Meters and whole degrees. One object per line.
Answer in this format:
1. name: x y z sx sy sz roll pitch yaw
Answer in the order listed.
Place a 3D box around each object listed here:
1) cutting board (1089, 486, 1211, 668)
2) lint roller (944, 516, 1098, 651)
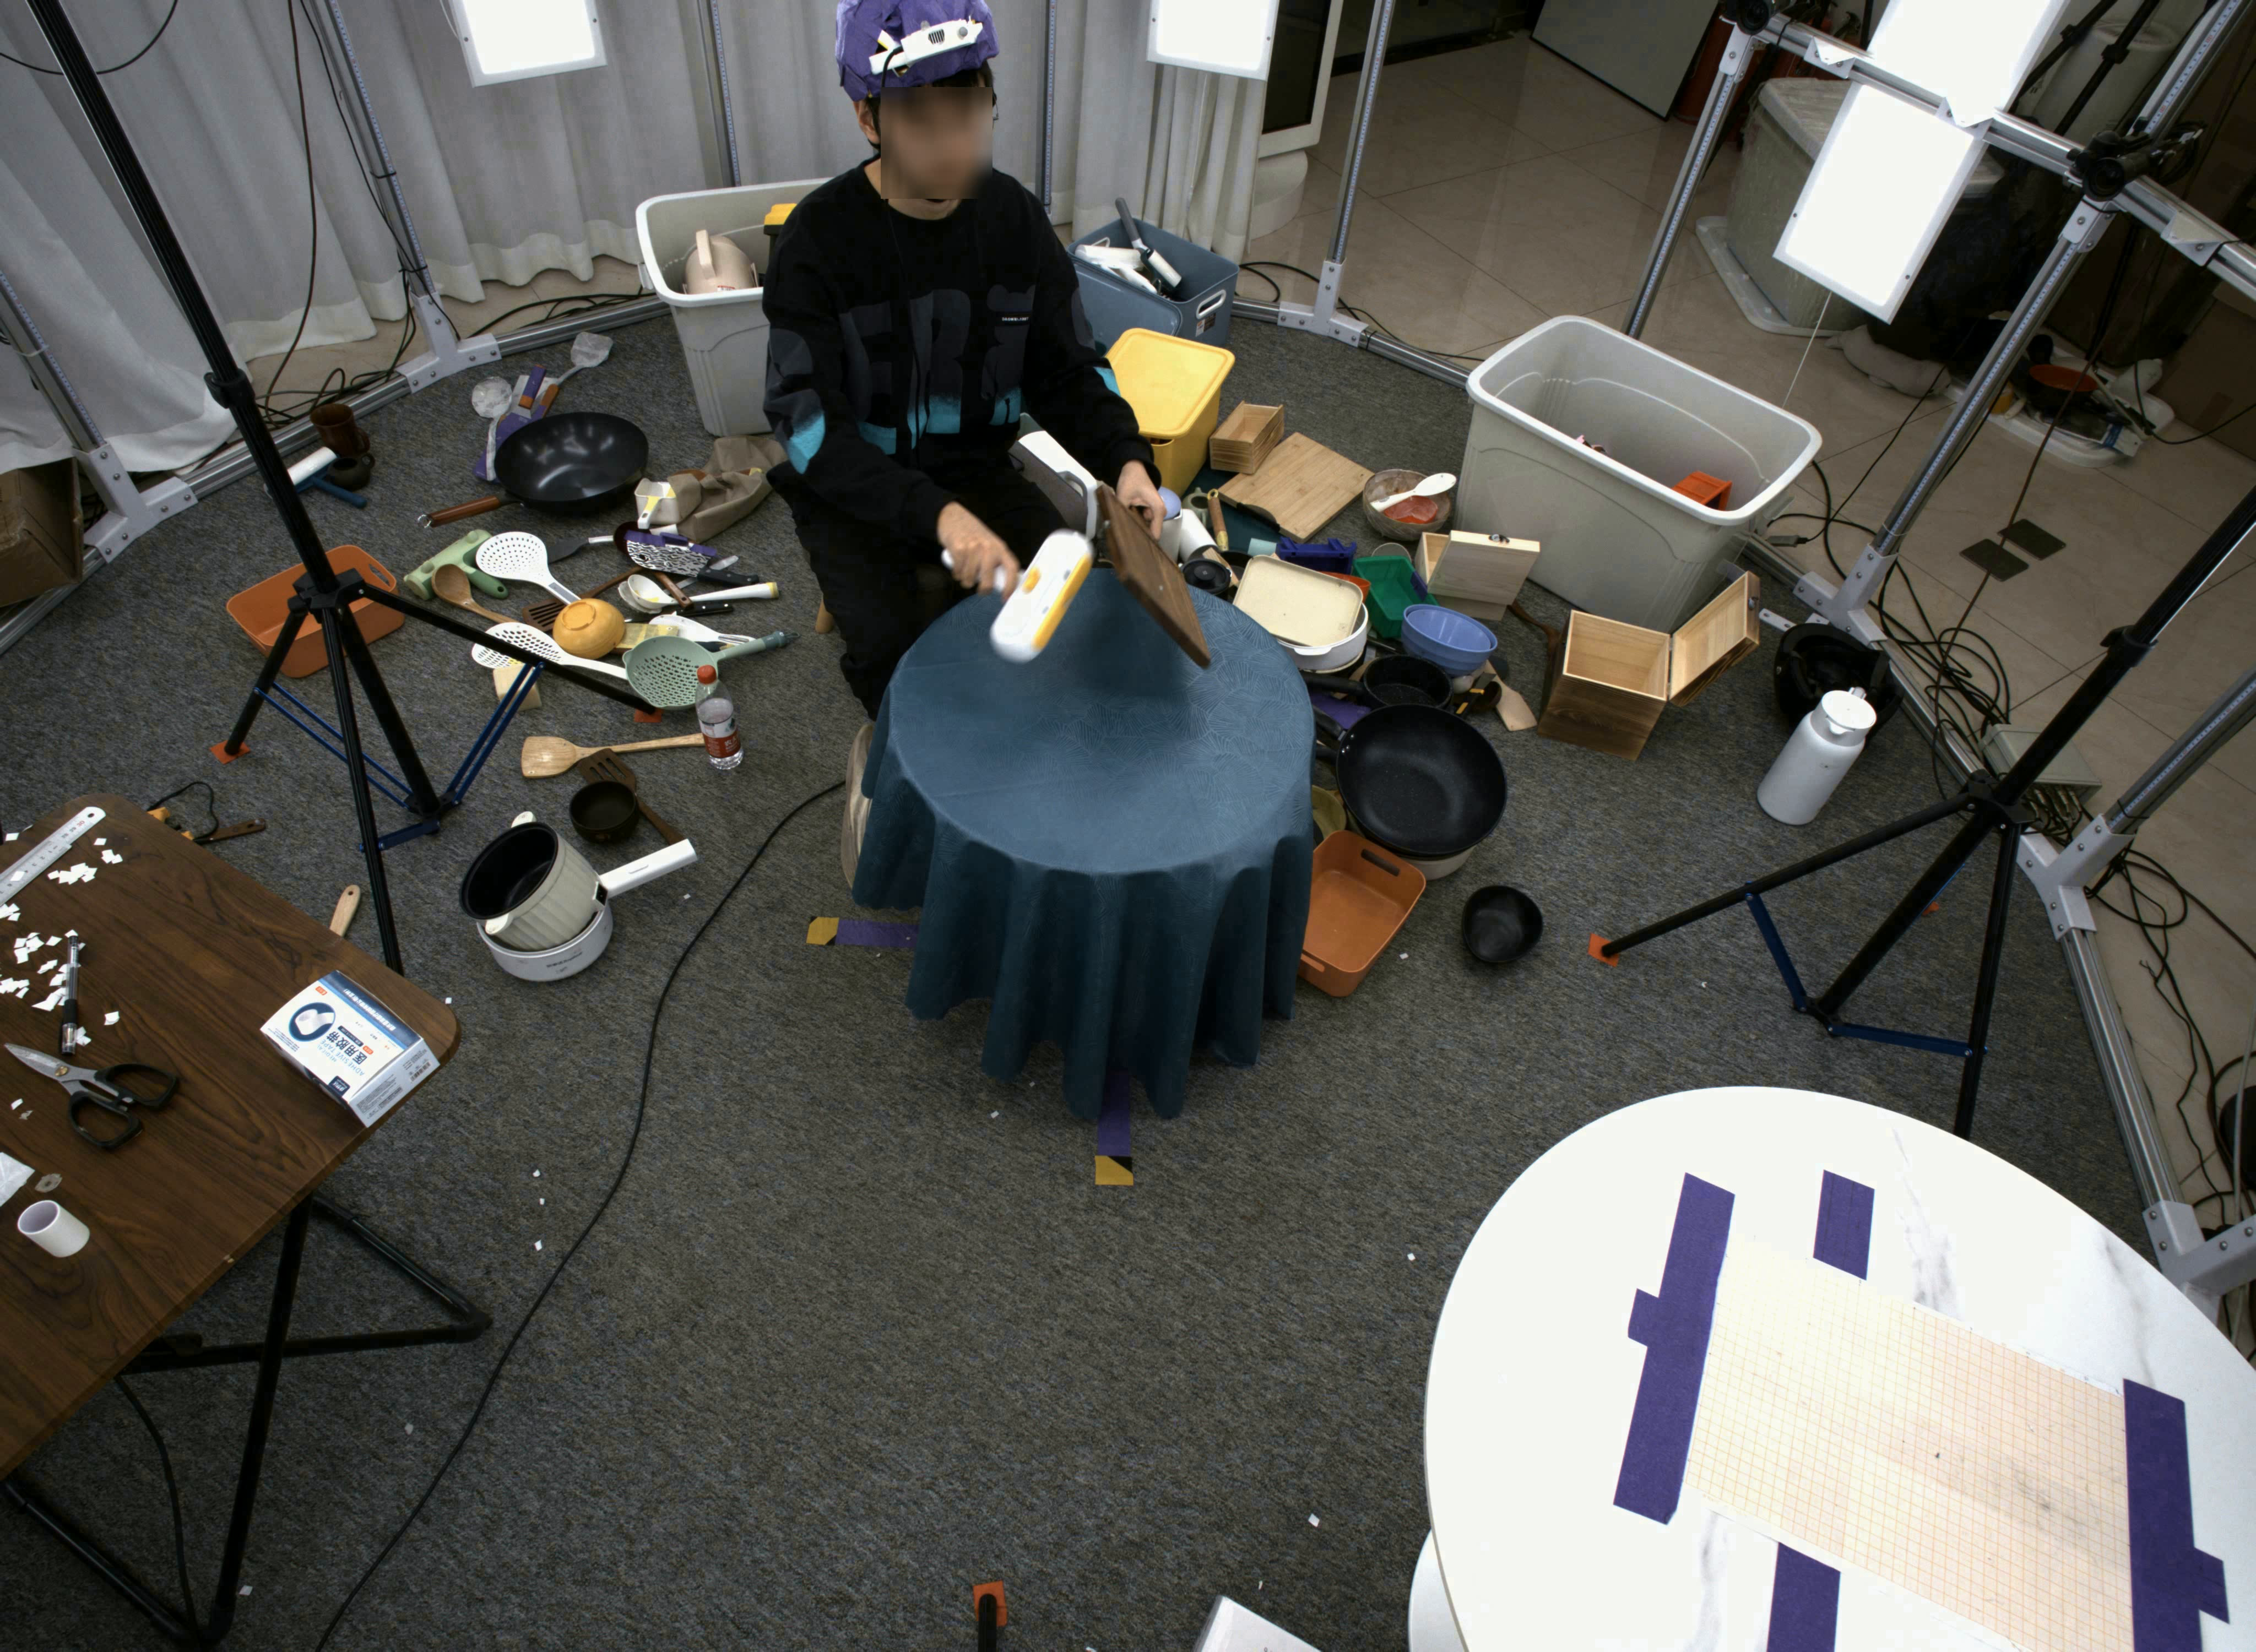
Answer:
1. cutting board: 0.023 -0.384 1.843 0.023 0.197 0.361 -37 37 21
2. lint roller: -0.156 -0.342 1.735 0.194 0.073 0.194 17 78 26
